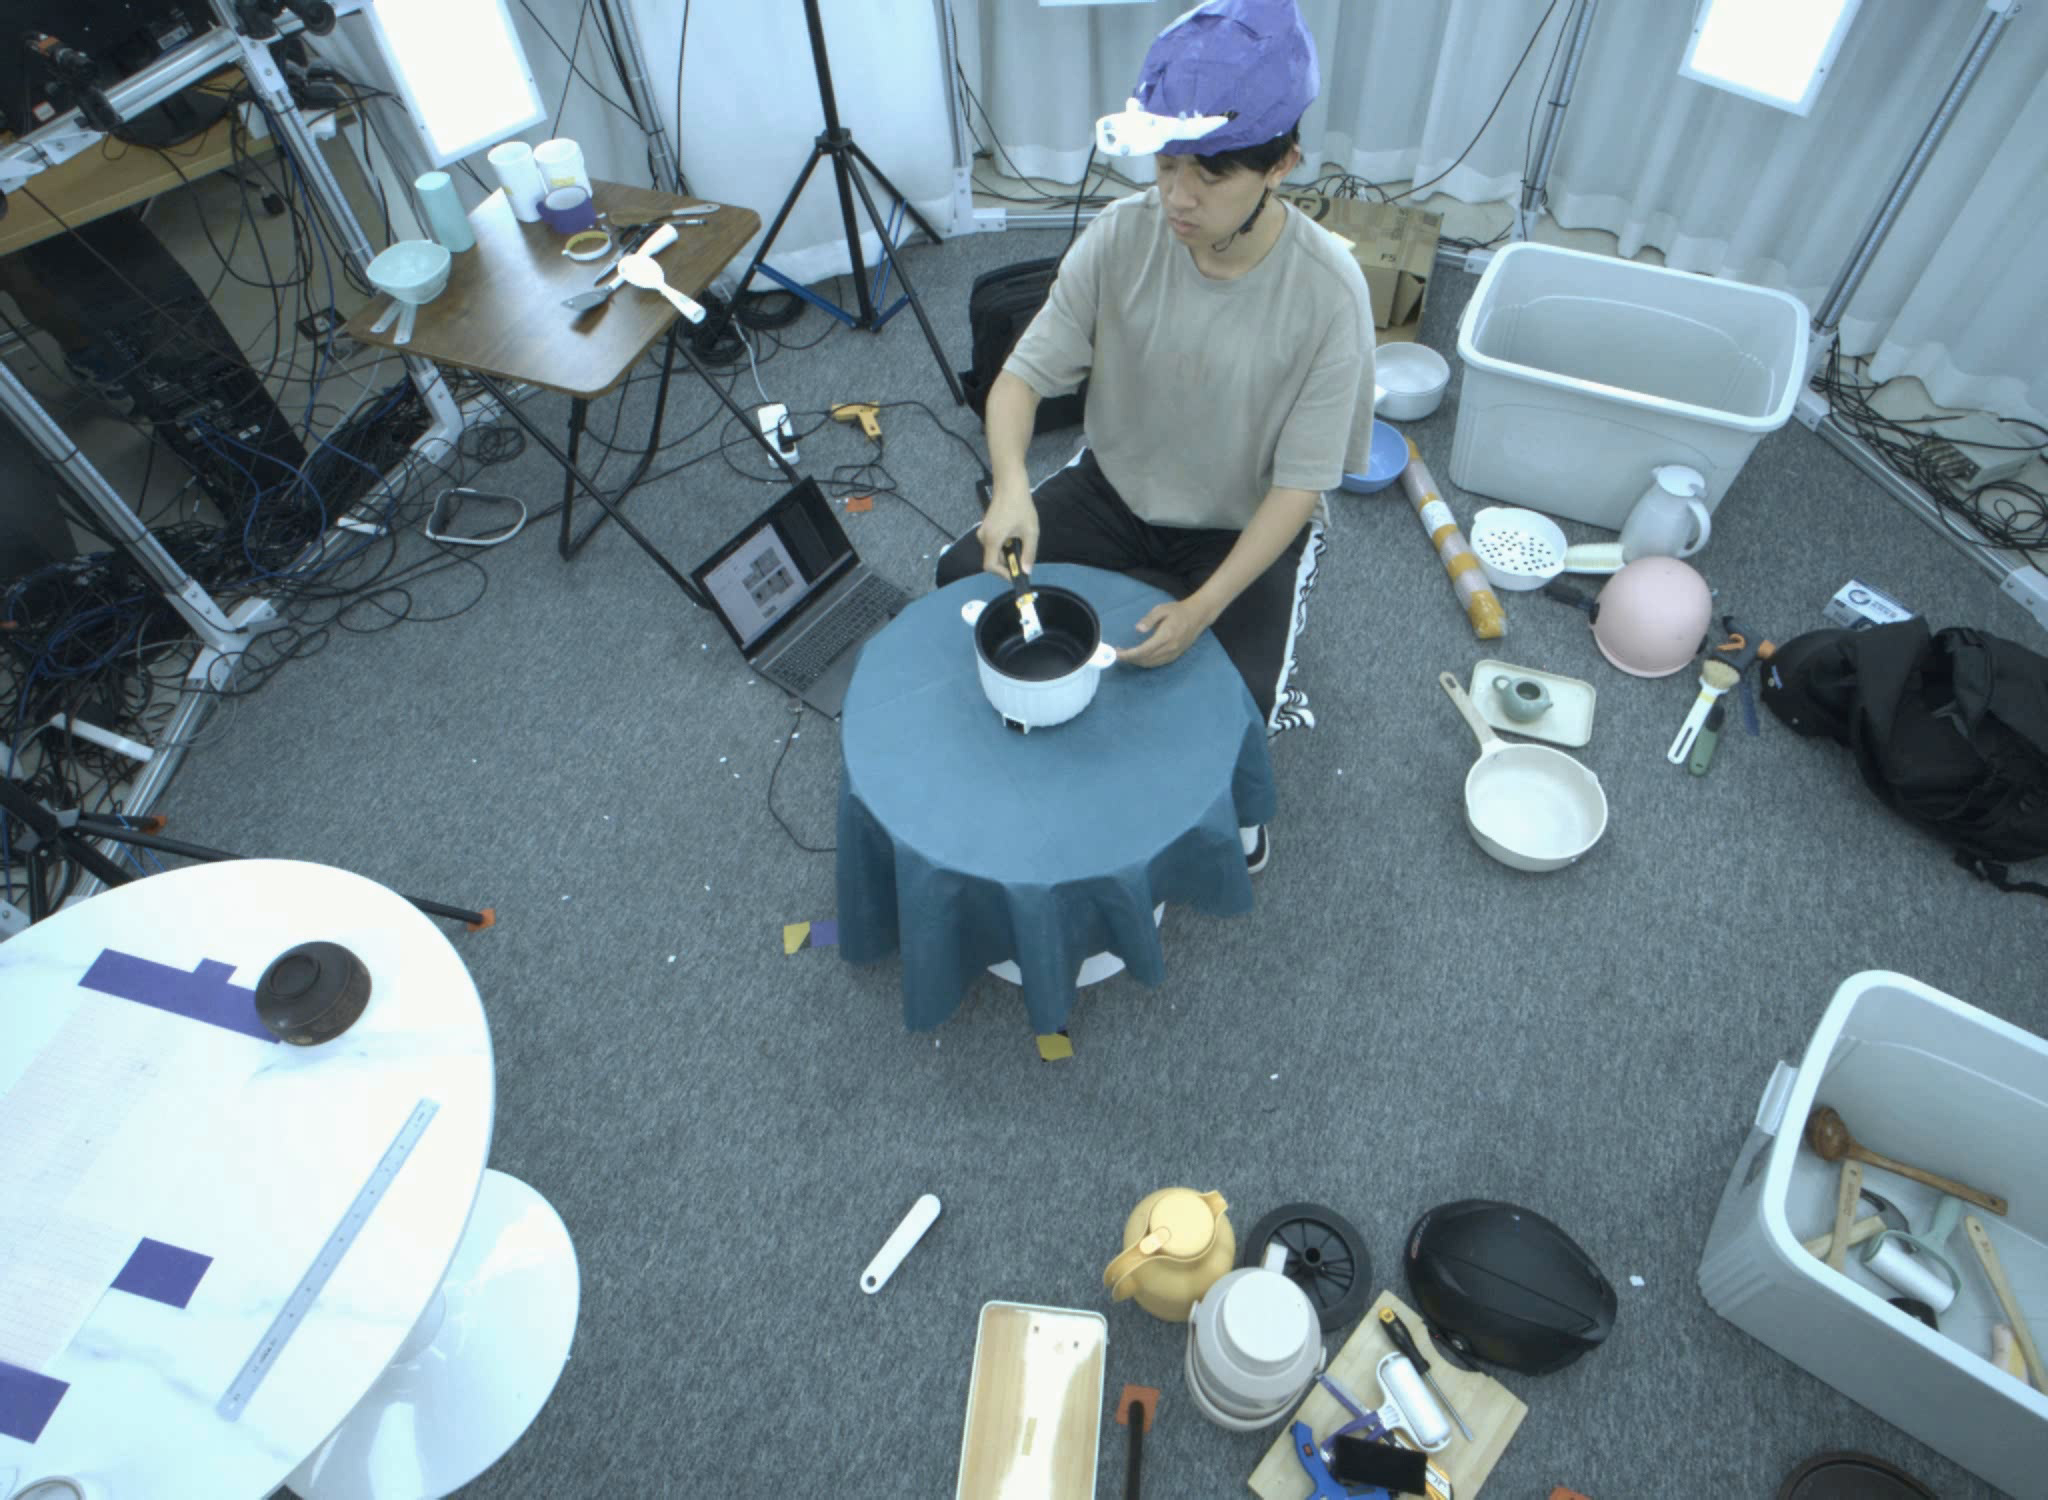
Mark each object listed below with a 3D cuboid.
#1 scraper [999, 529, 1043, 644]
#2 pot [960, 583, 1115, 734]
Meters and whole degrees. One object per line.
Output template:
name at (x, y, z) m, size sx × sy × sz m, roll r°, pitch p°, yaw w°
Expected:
scraper at (-0.006, -0.231, 1.718) m, size 0.015 × 0.038 × 0.170 m, roll -5°, pitch 74°, yaw -41°
pot at (0.023, -0.135, 1.793) m, size 0.237 × 0.144 × 0.190 m, roll 21°, pitch 63°, yaw 16°
